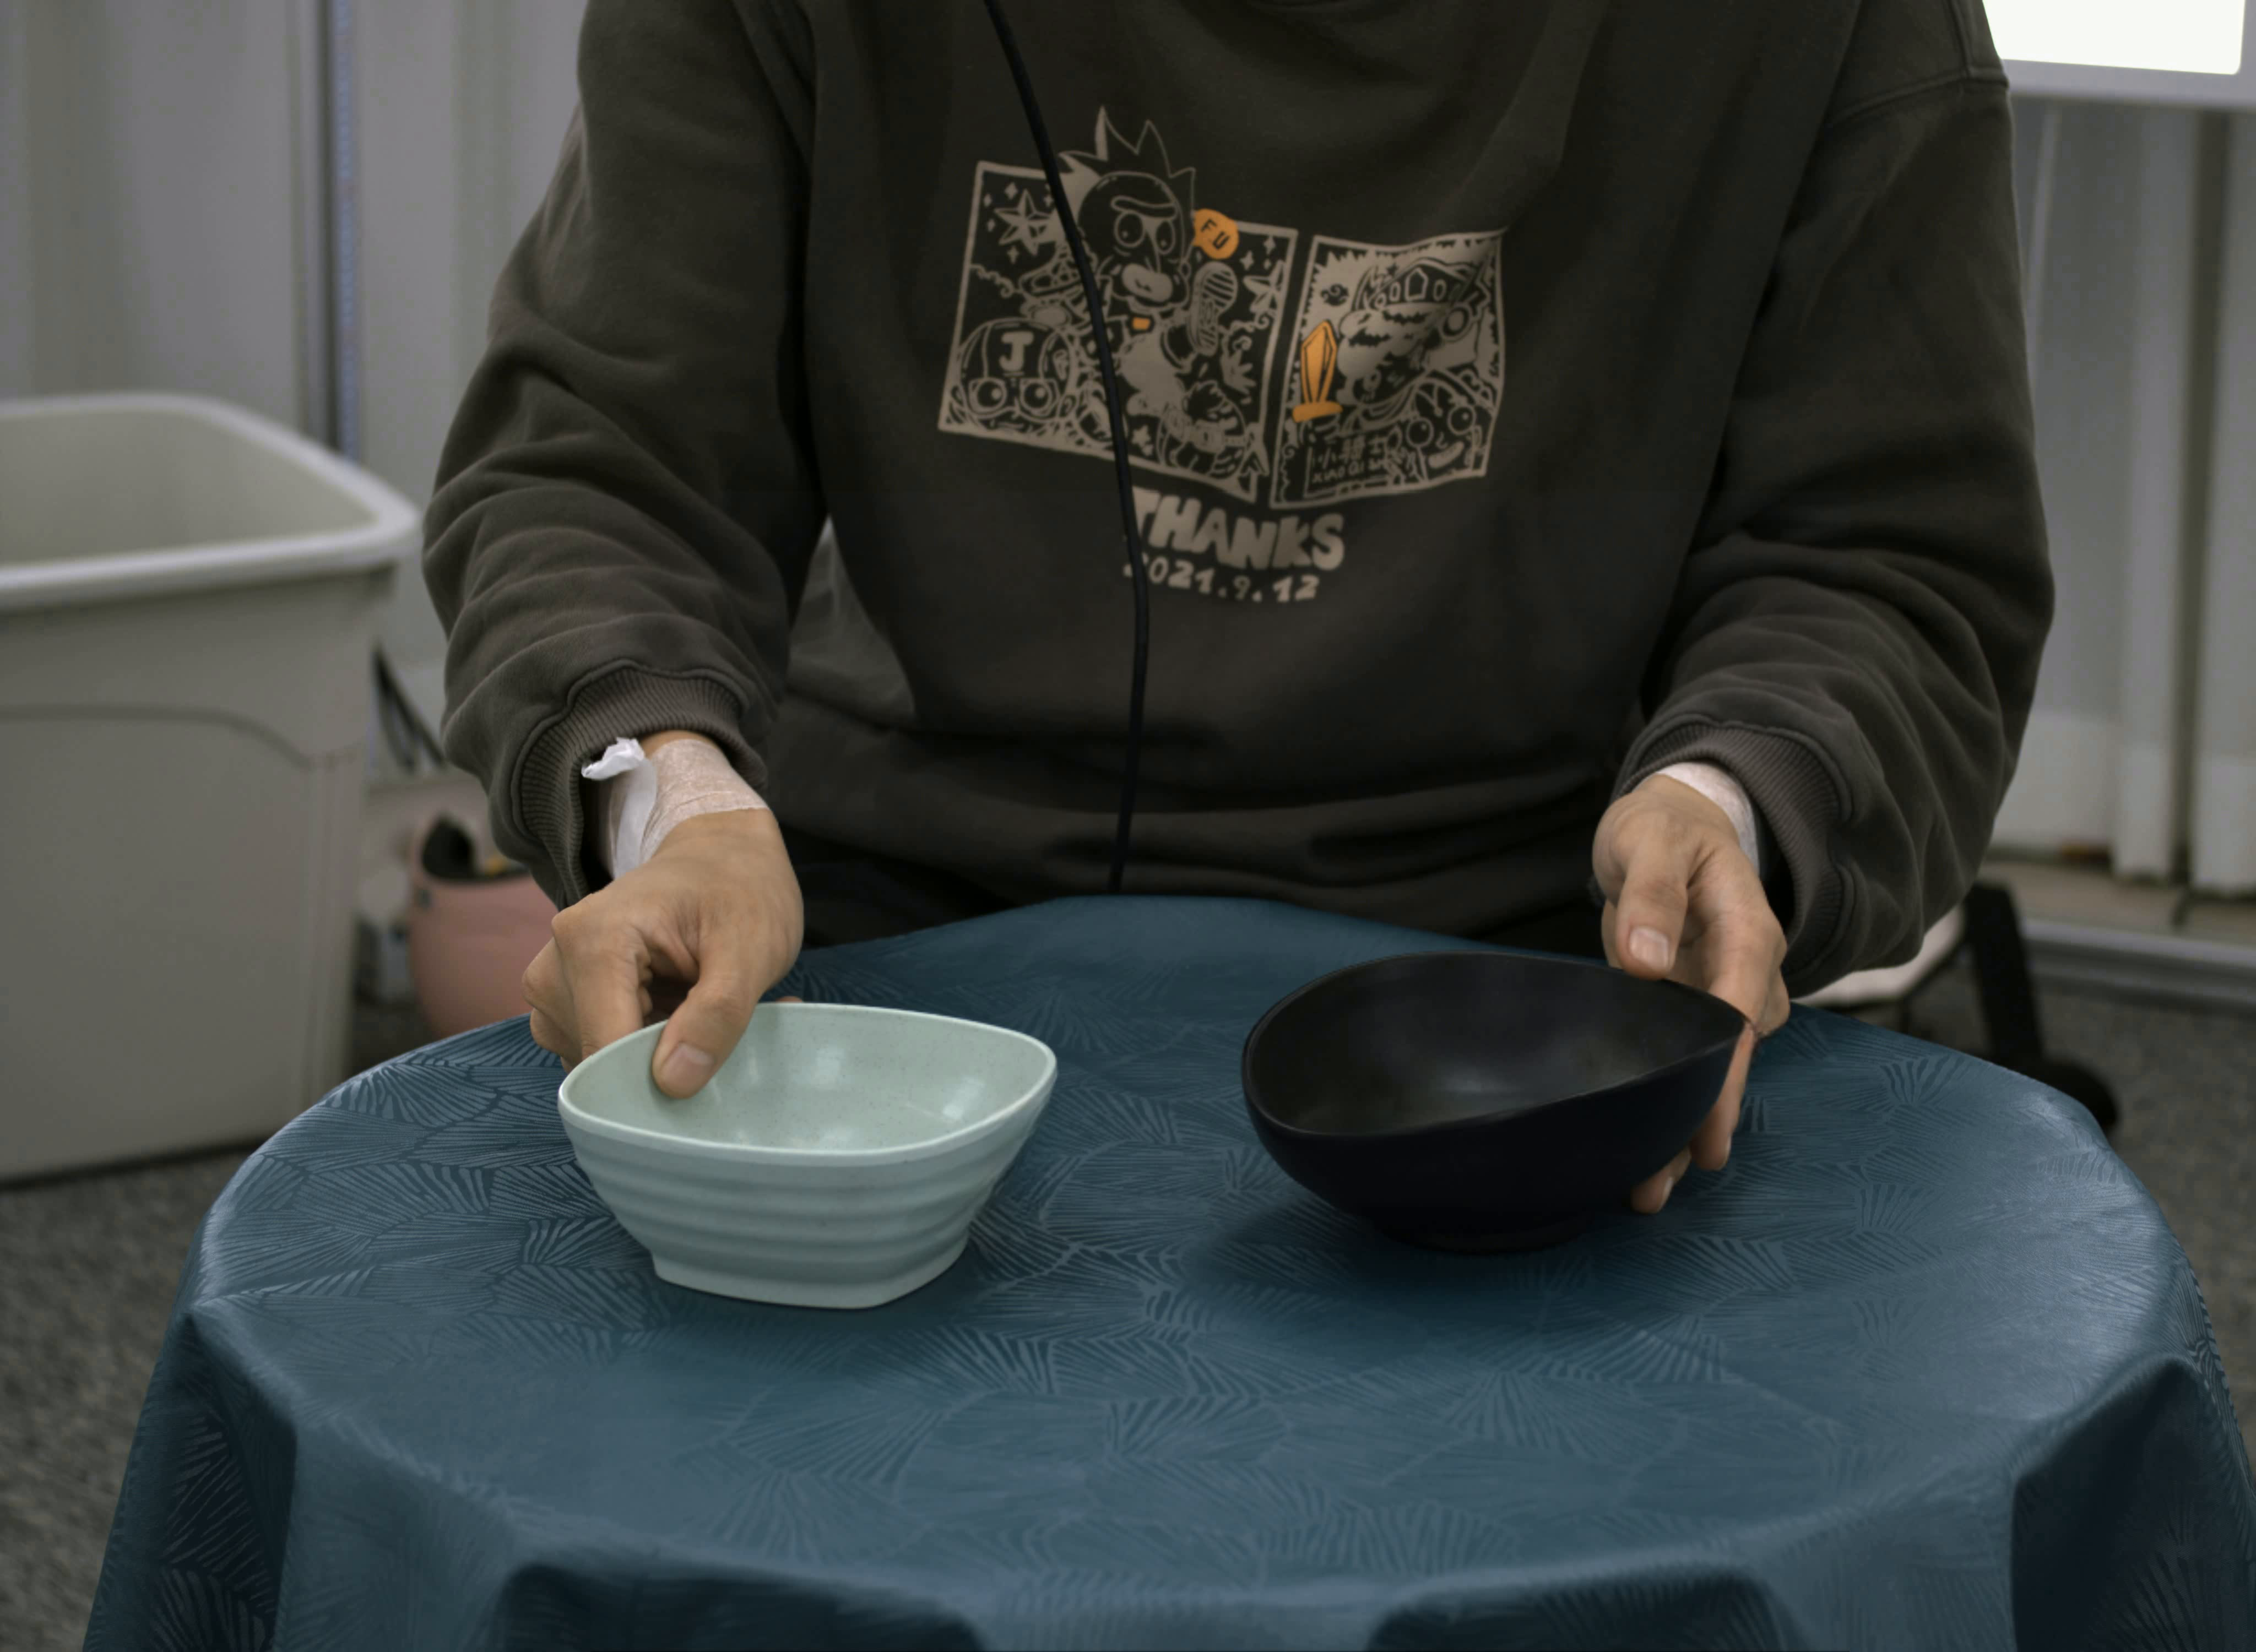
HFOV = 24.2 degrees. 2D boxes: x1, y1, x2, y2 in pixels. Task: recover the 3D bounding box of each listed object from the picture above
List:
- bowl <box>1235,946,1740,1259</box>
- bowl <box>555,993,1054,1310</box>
[{"bbox_3d":[0.109,0.090,1.599,0.135,0.067,0.171,15,23,41],"label":"bowl"},{"bbox_3d":[-0.095,0.100,1.563,0.151,0.059,0.150,2,16,0],"label":"bowl"}]
